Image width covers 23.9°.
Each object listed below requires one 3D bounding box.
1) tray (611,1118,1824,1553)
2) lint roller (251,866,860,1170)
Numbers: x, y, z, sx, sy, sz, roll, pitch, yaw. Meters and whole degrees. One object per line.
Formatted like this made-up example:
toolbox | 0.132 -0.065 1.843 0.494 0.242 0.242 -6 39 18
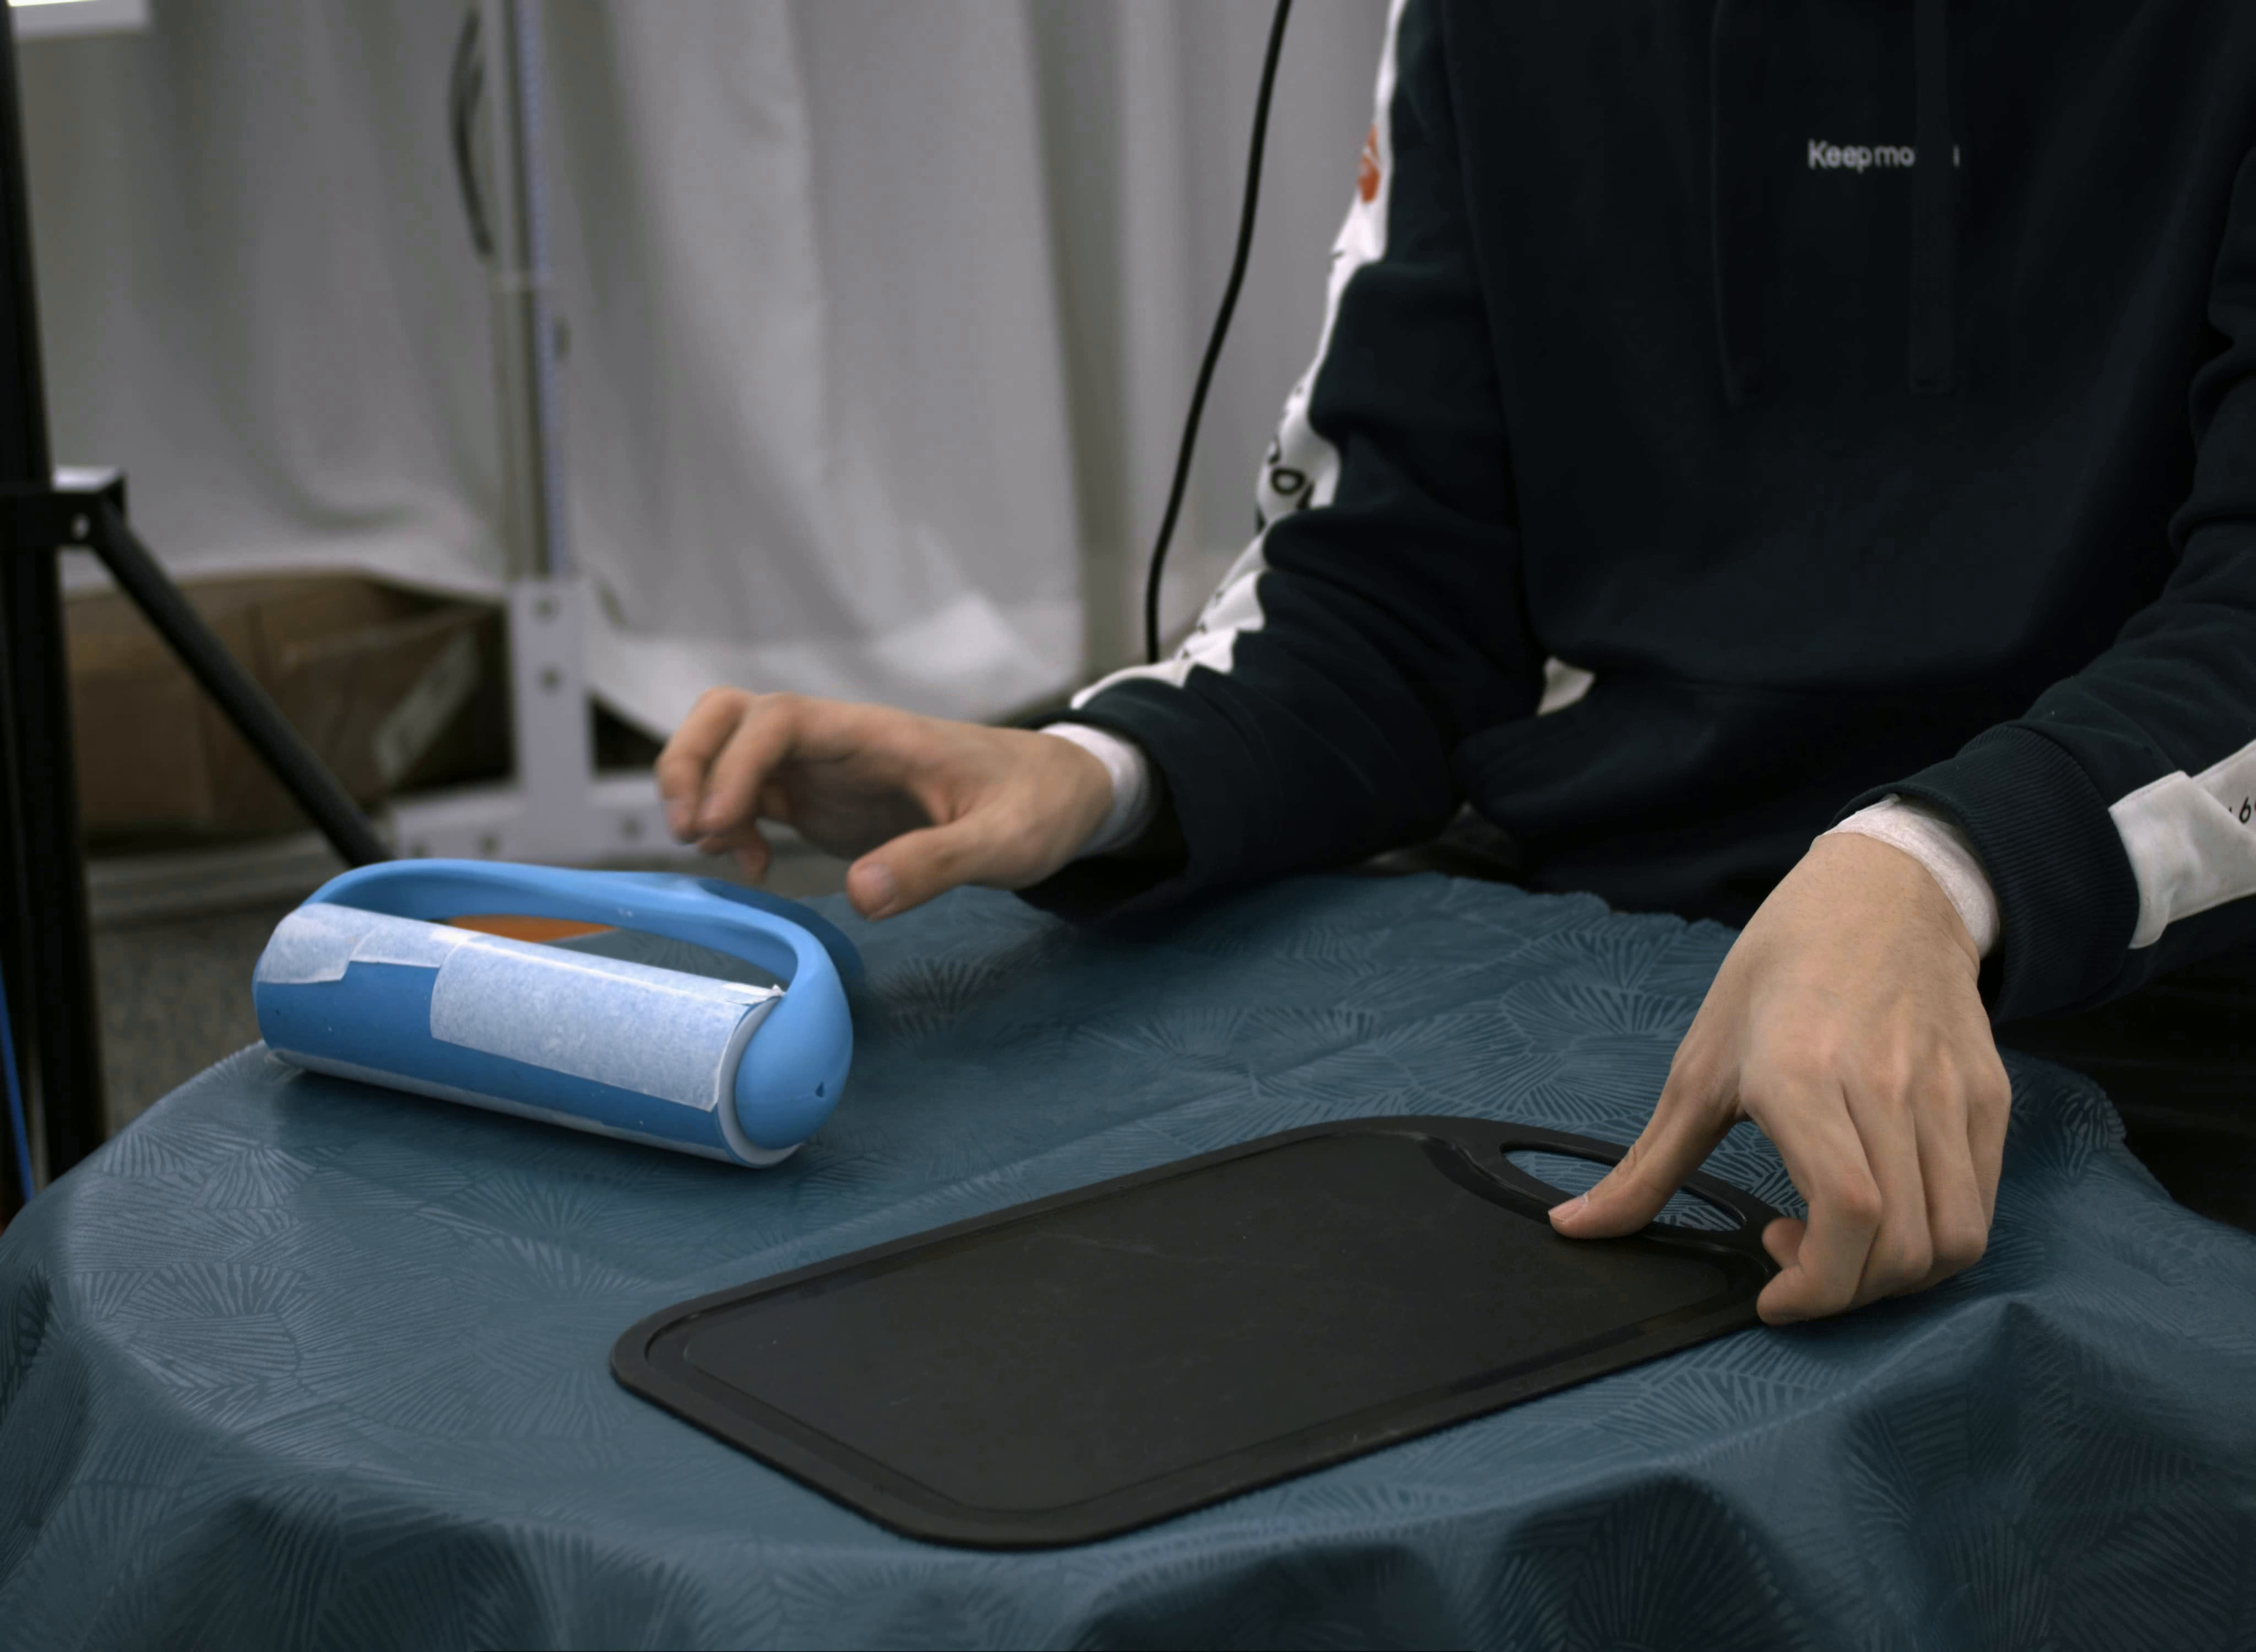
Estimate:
tray | 0.032 0.131 1.460 0.318 0.010 0.216 -13 19 -32
lint roller | -0.150 0.048 1.692 0.233 0.068 0.177 6 19 35
